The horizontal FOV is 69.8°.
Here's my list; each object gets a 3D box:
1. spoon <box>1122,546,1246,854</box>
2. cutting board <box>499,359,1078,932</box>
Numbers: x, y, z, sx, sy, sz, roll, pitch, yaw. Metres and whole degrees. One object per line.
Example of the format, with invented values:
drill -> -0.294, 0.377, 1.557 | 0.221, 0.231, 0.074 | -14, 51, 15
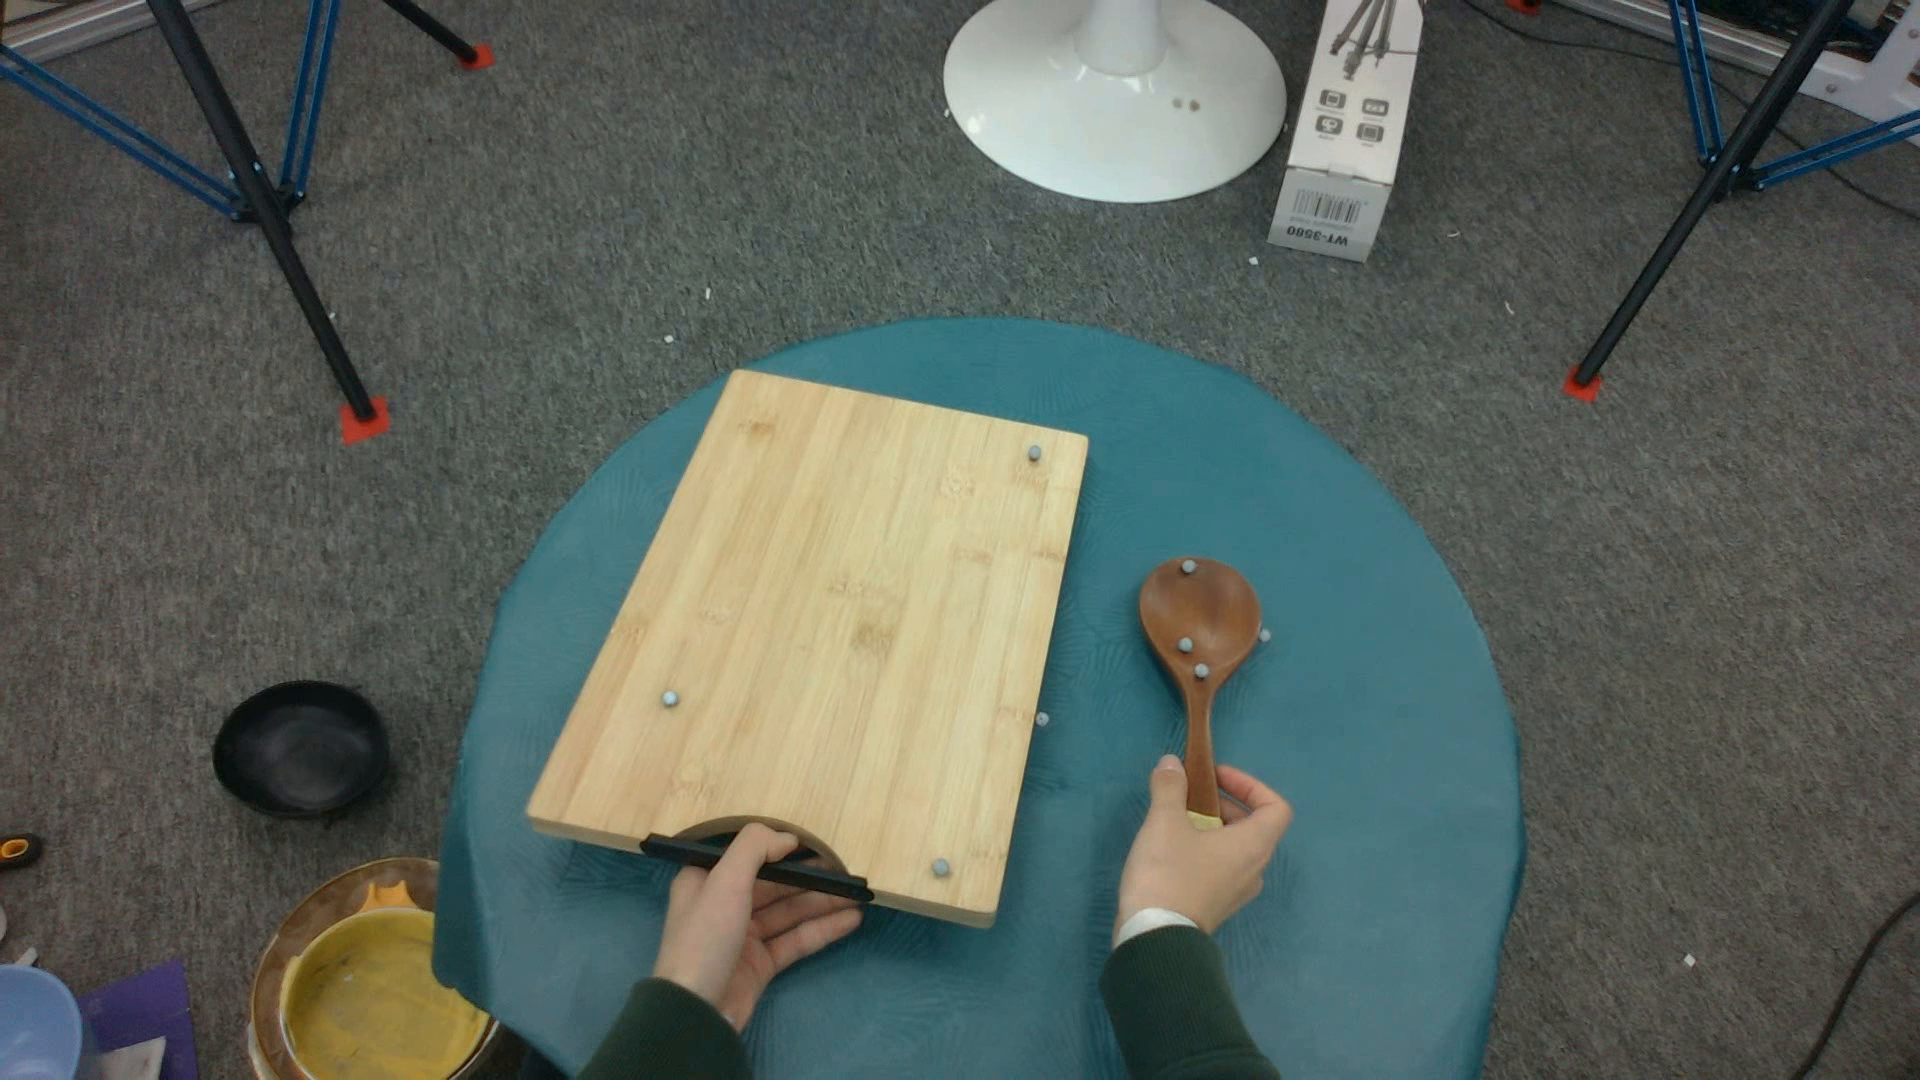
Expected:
spoon -> 0.126, 0.083, 0.778 | 0.075, 0.017, 0.217 | 10, 44, 0
cutting board -> -0.076, 0.038, 0.790 | 0.250, 0.023, 0.350 | 10, 50, 4
